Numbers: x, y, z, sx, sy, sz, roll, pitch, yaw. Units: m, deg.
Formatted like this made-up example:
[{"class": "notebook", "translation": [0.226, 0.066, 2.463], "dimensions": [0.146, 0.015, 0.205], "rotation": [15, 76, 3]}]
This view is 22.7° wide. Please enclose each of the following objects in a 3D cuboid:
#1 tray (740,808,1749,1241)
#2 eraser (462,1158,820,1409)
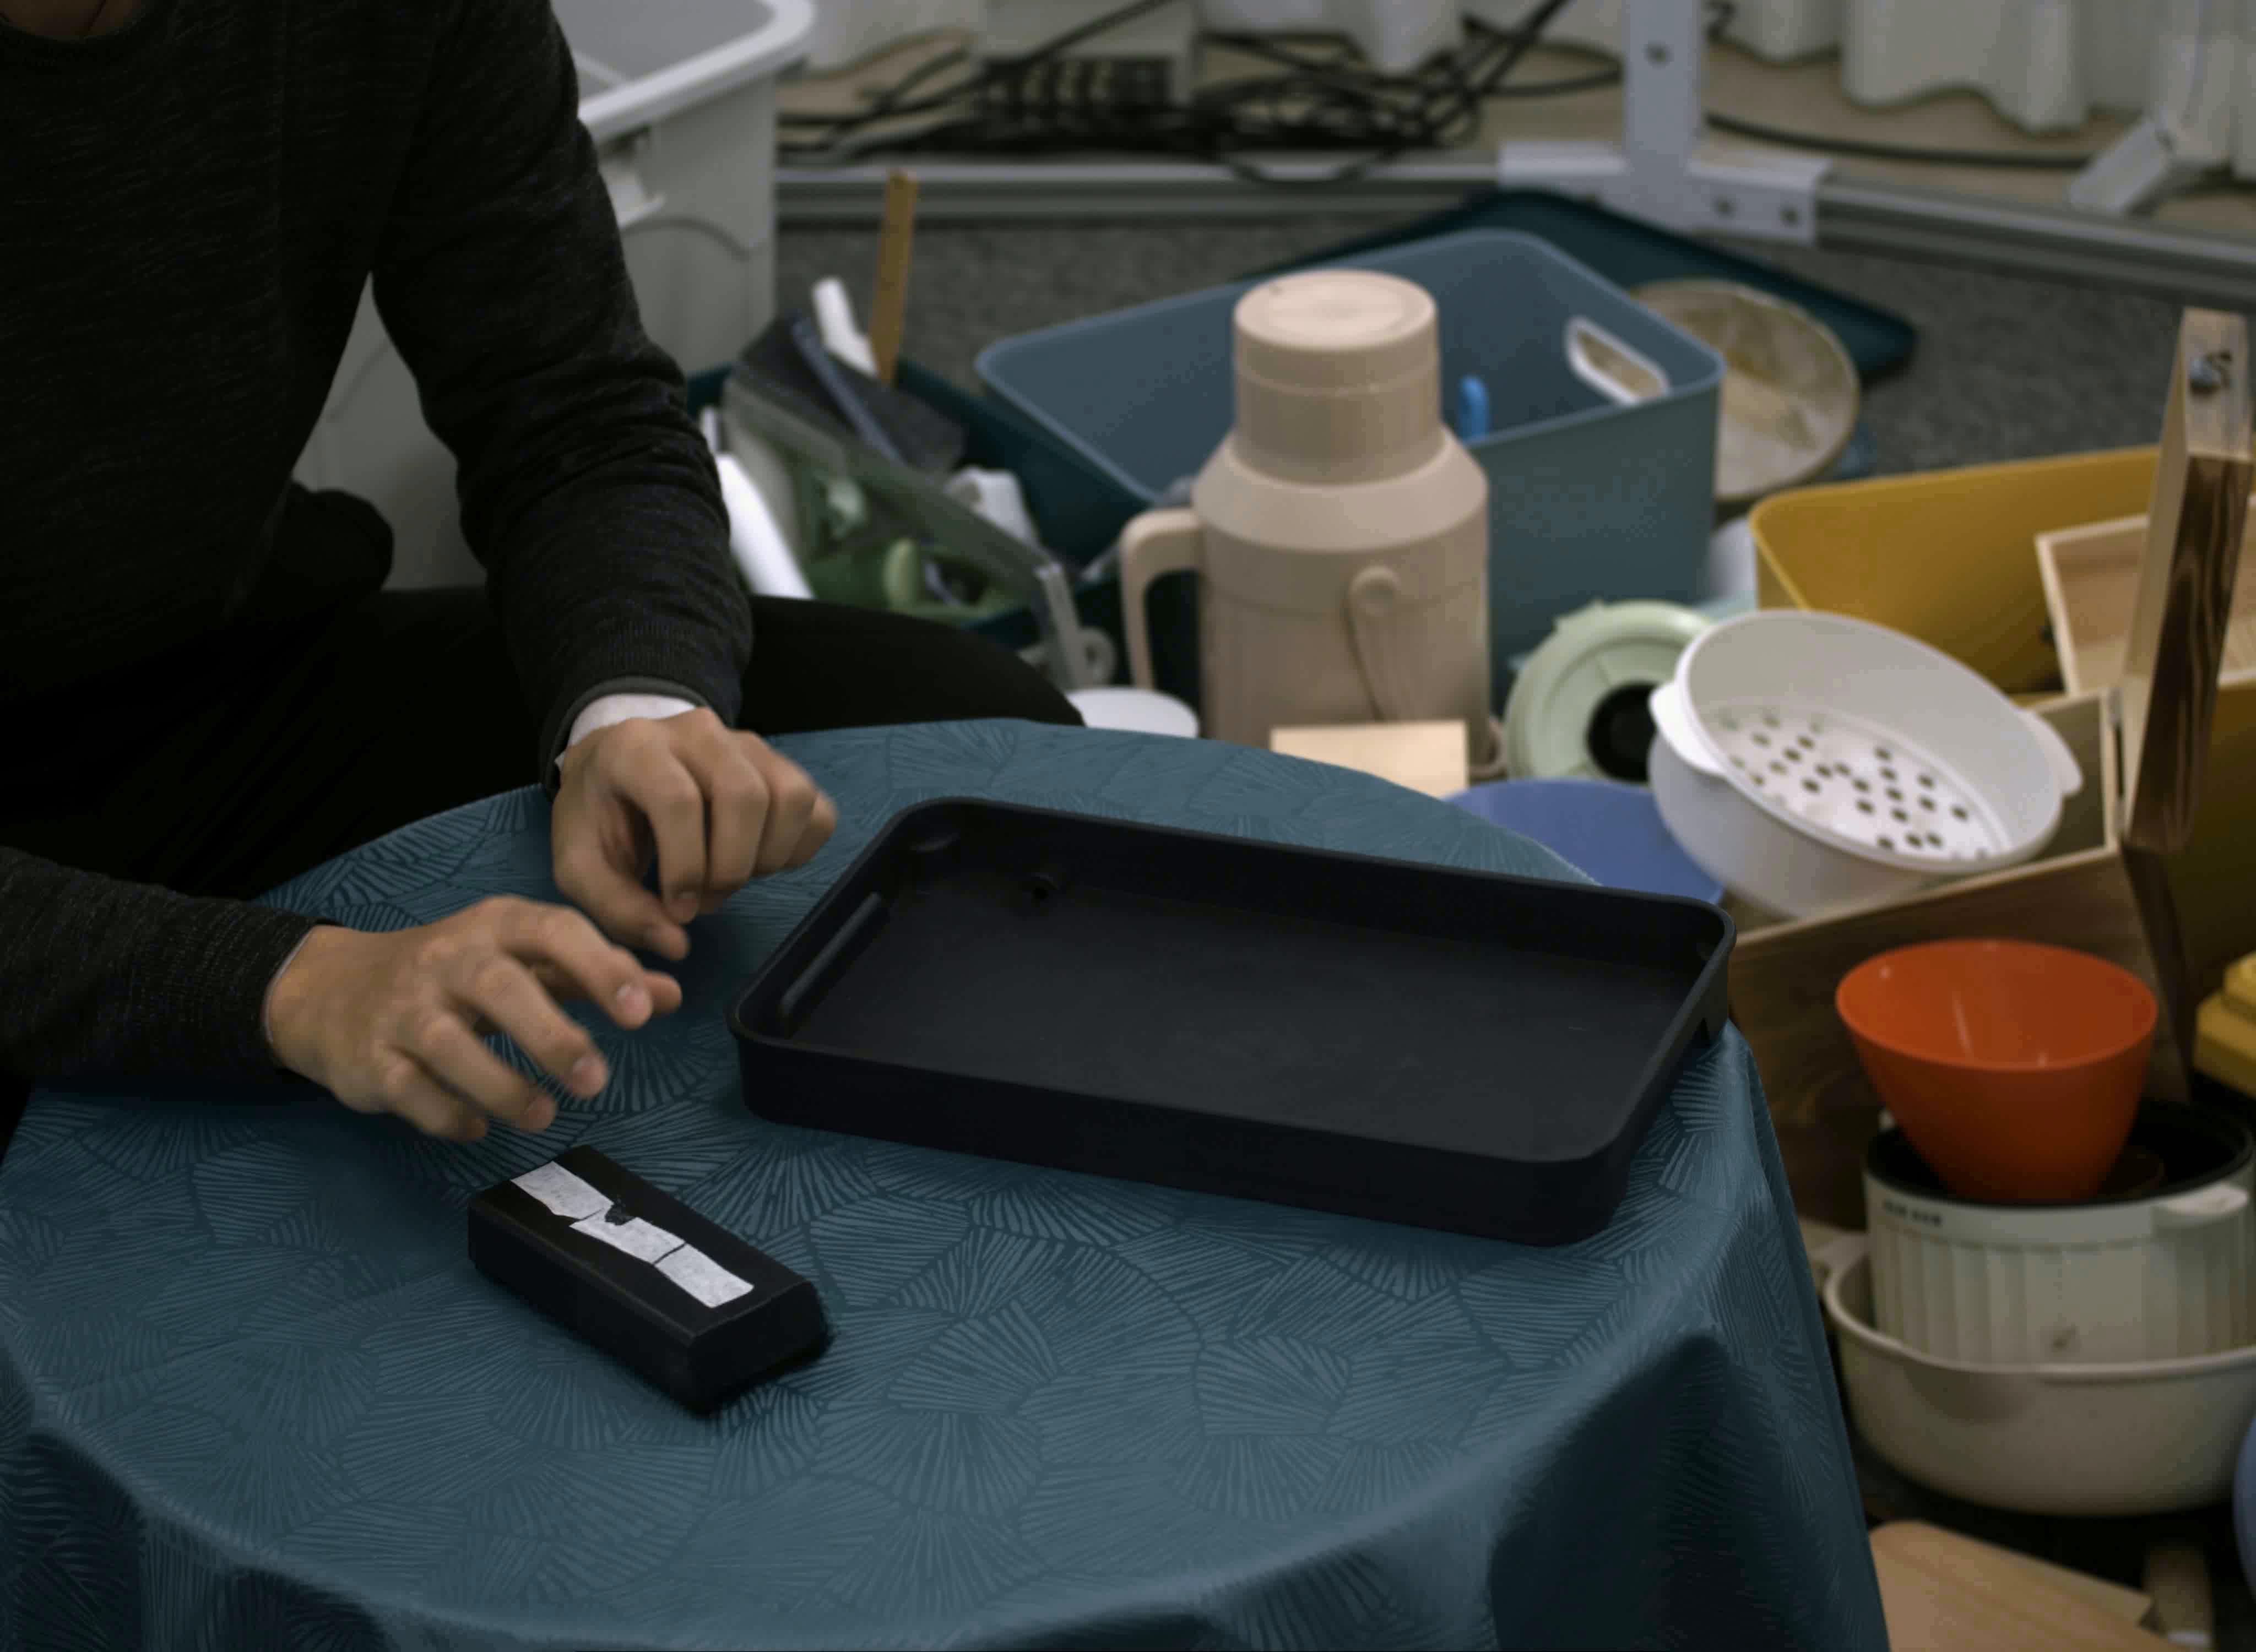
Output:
[{"class": "tray", "translation": [0.041, 0.065, 1.930], "dimensions": [0.316, 0.036, 0.187], "rotation": [6, 29, 19]}, {"class": "eraser", "translation": [-0.156, 0.146, 1.800], "dimensions": [0.054, 0.030, 0.125], "rotation": [-22, 31, -36]}]
